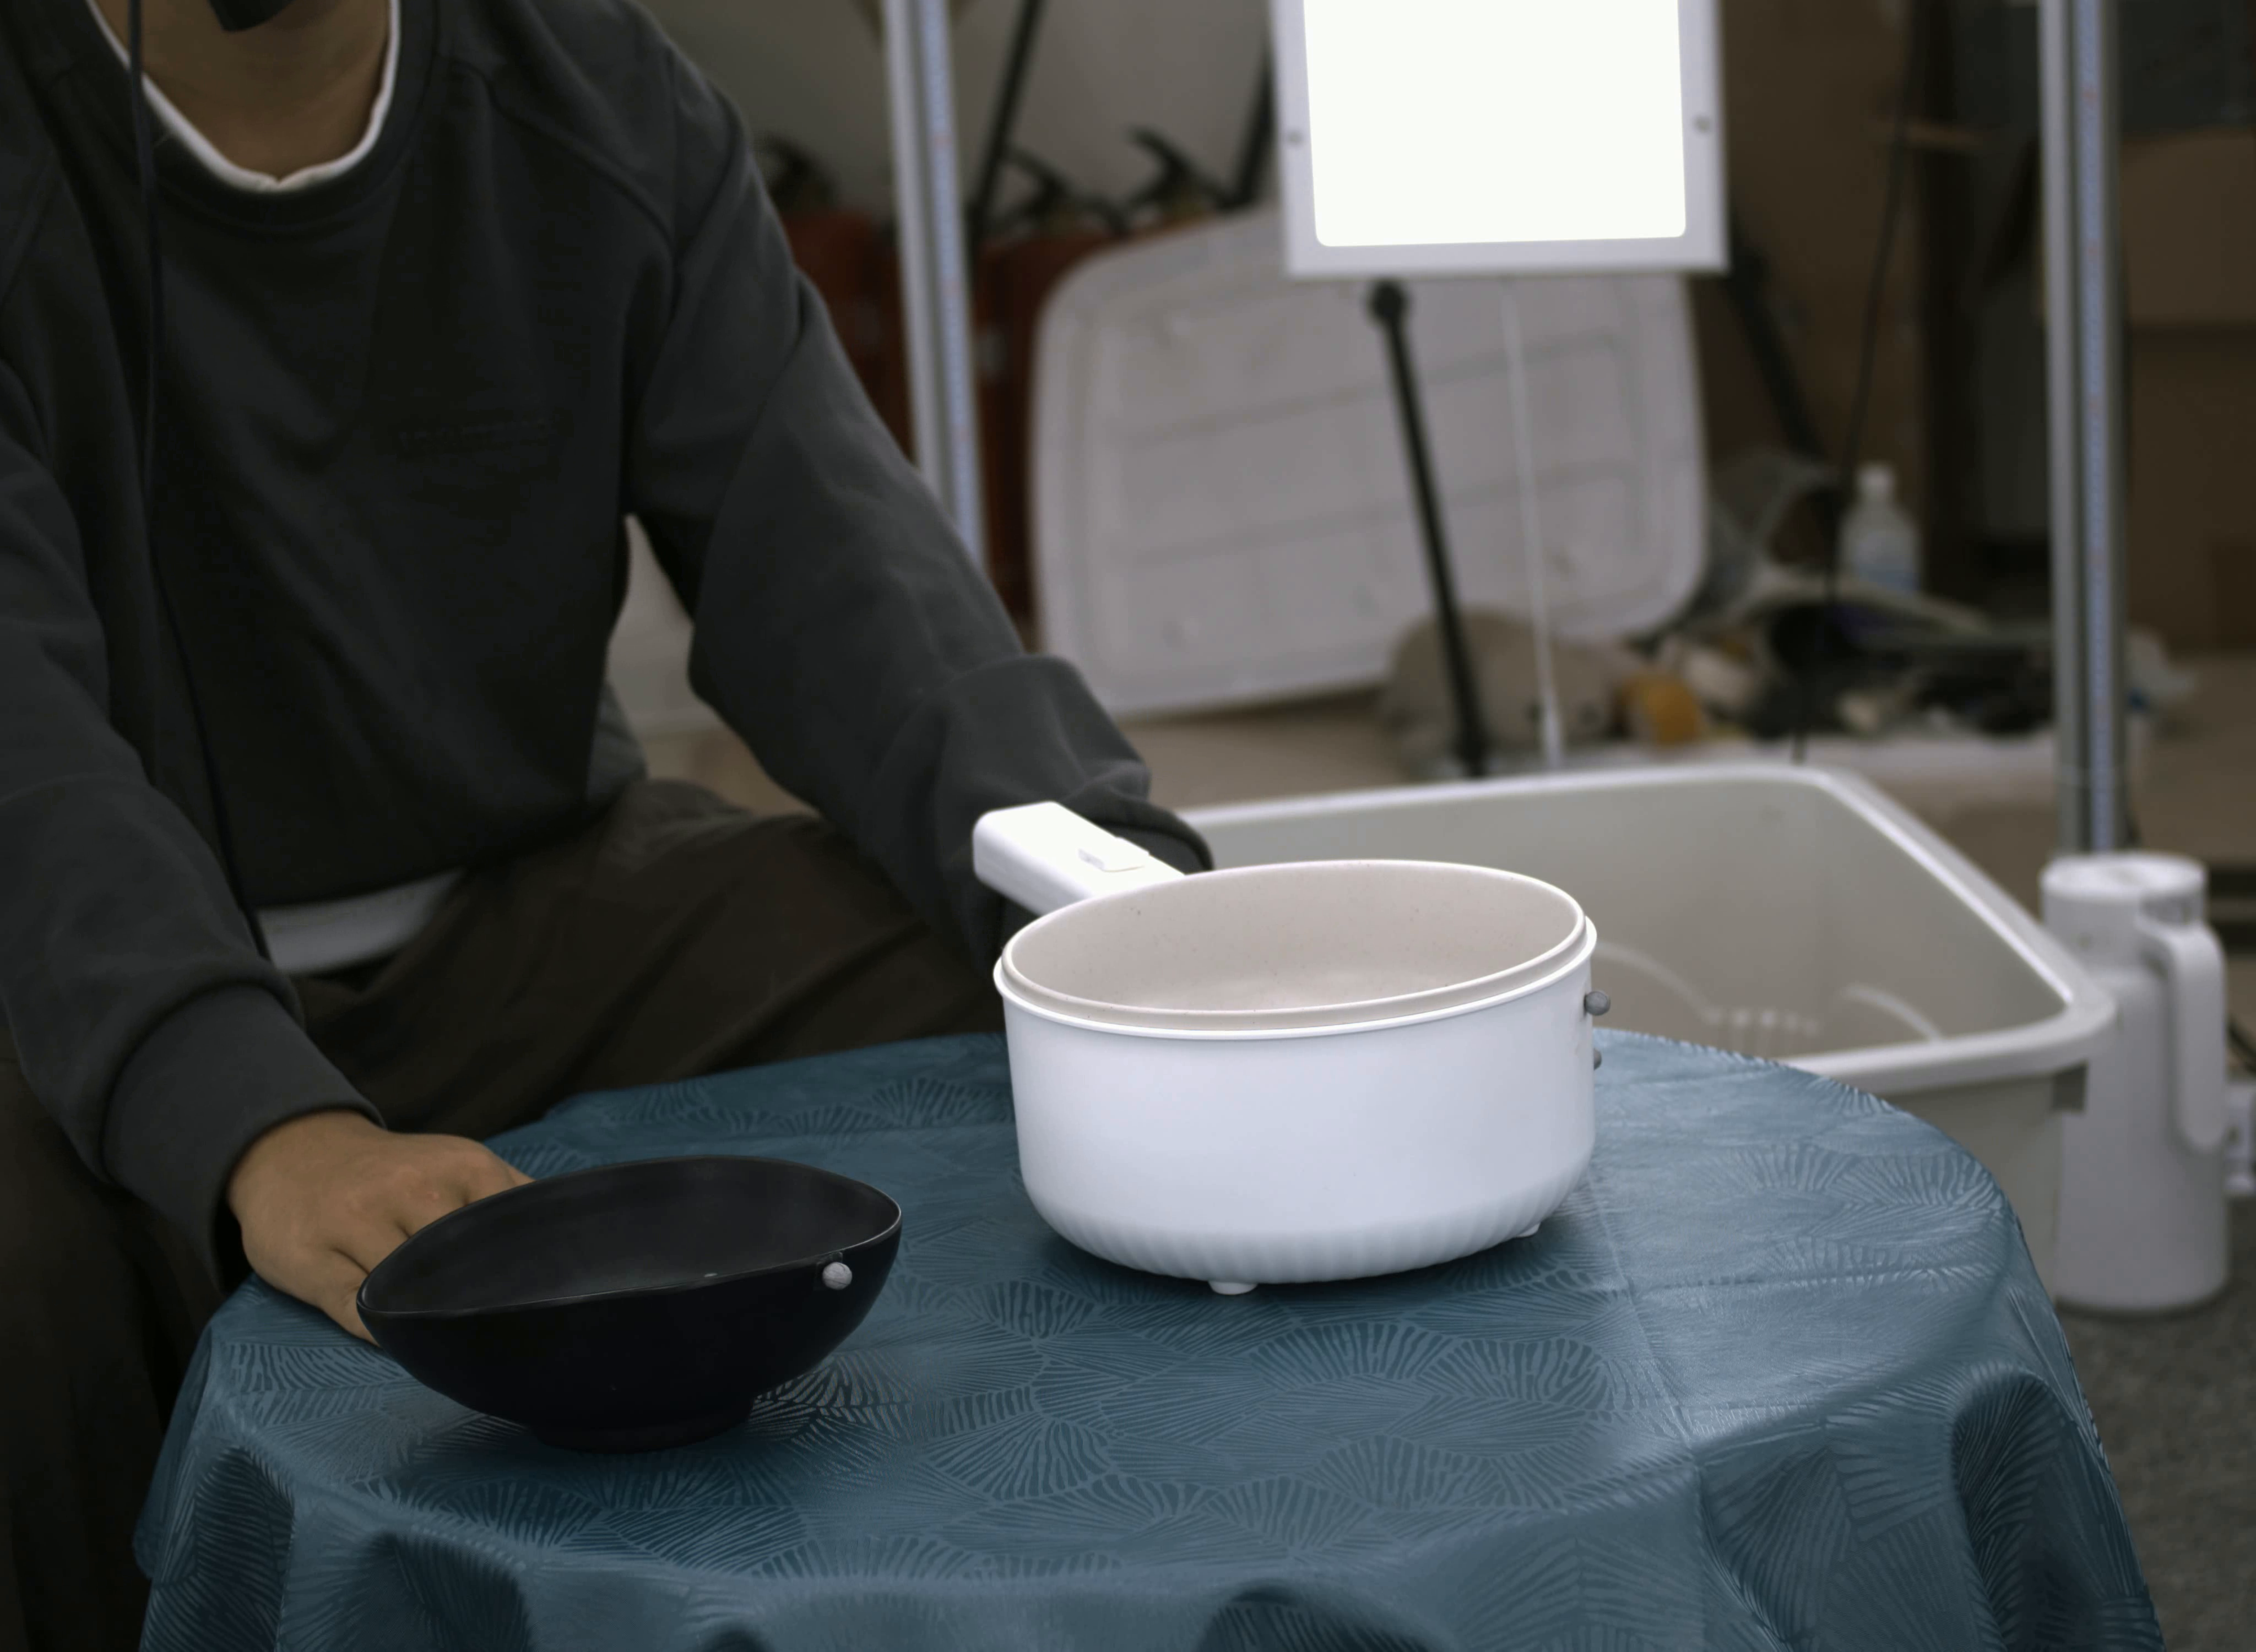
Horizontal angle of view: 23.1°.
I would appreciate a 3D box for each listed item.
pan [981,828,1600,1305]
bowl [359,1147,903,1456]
[{"bbox_3d":[0.031,0.076,1.910,0.198,0.102,0.360,-12,13,-20],"label":"pan"},{"bbox_3d":[-0.150,0.153,1.705,0.169,0.067,0.138,-9,14,-7],"label":"bowl"}]
